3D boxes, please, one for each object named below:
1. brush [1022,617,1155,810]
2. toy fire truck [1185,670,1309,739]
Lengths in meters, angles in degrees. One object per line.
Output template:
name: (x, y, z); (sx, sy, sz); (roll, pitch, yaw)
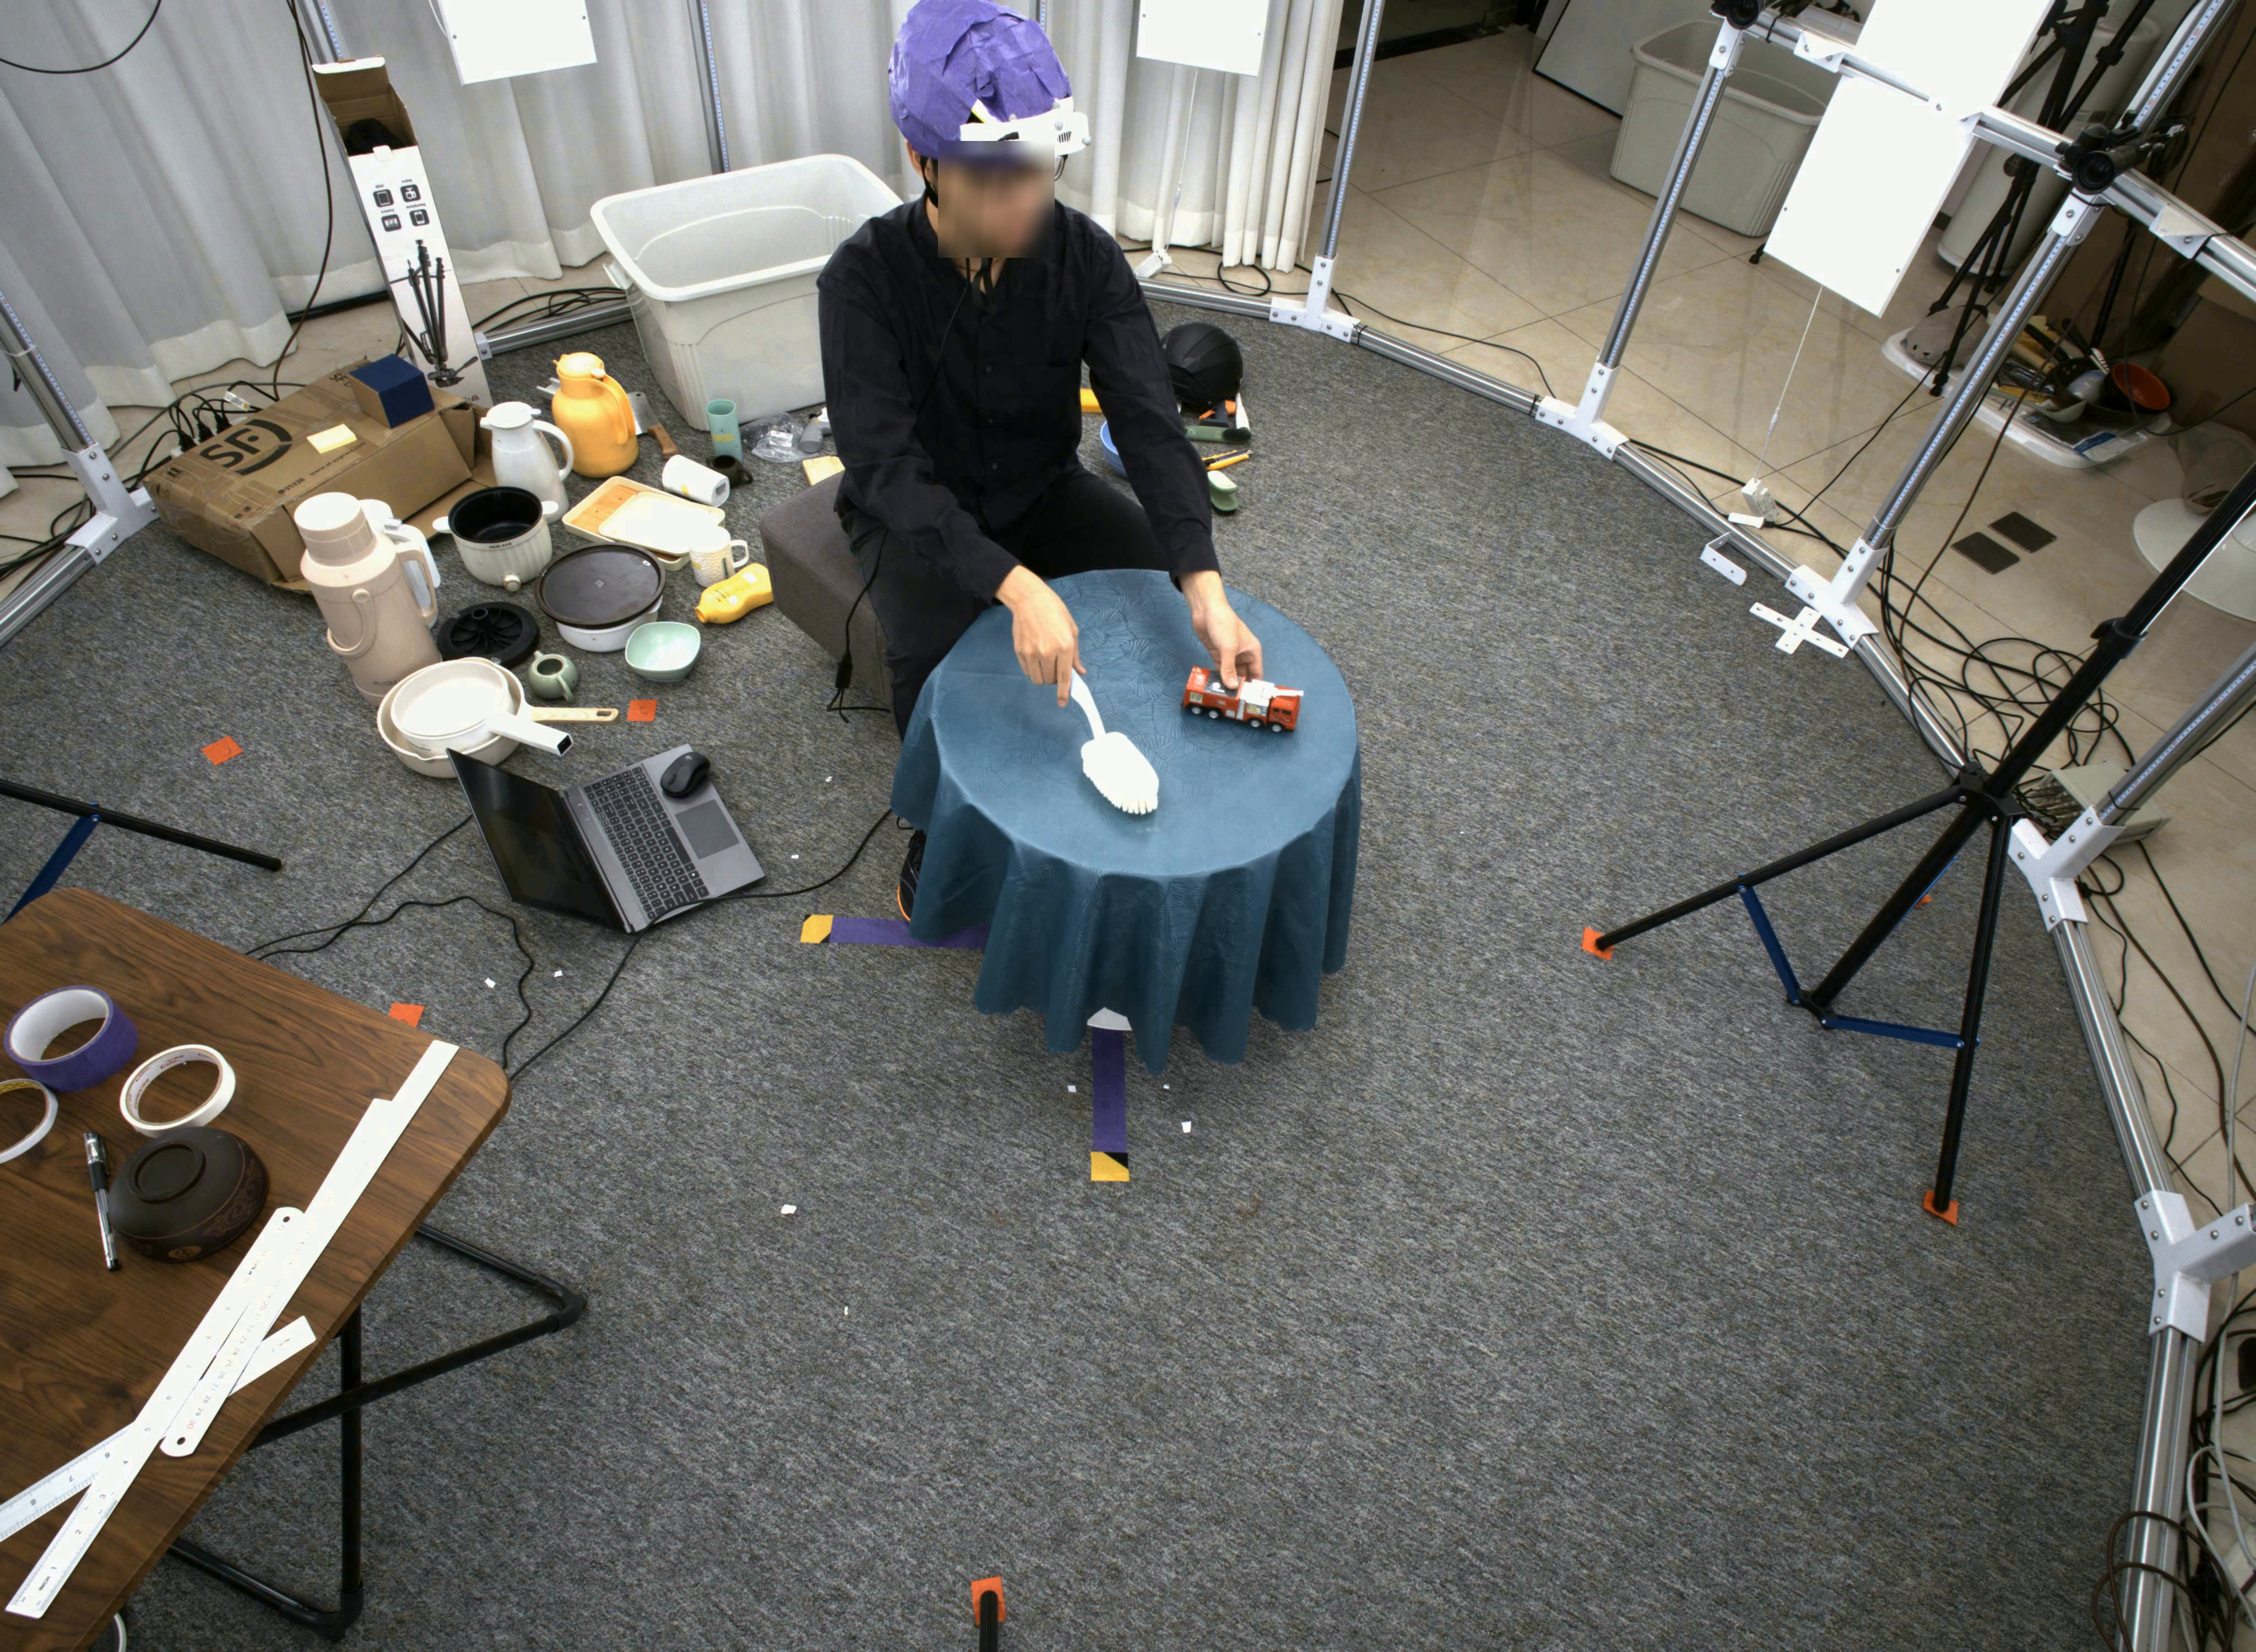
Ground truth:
brush: (-0.057, -0.149, 1.742); (0.082, 0.083, 0.331); (4, 46, -54)
toy fire truck: (0.166, -0.171, 1.788); (0.168, 0.068, 0.055); (12, 52, 9)
